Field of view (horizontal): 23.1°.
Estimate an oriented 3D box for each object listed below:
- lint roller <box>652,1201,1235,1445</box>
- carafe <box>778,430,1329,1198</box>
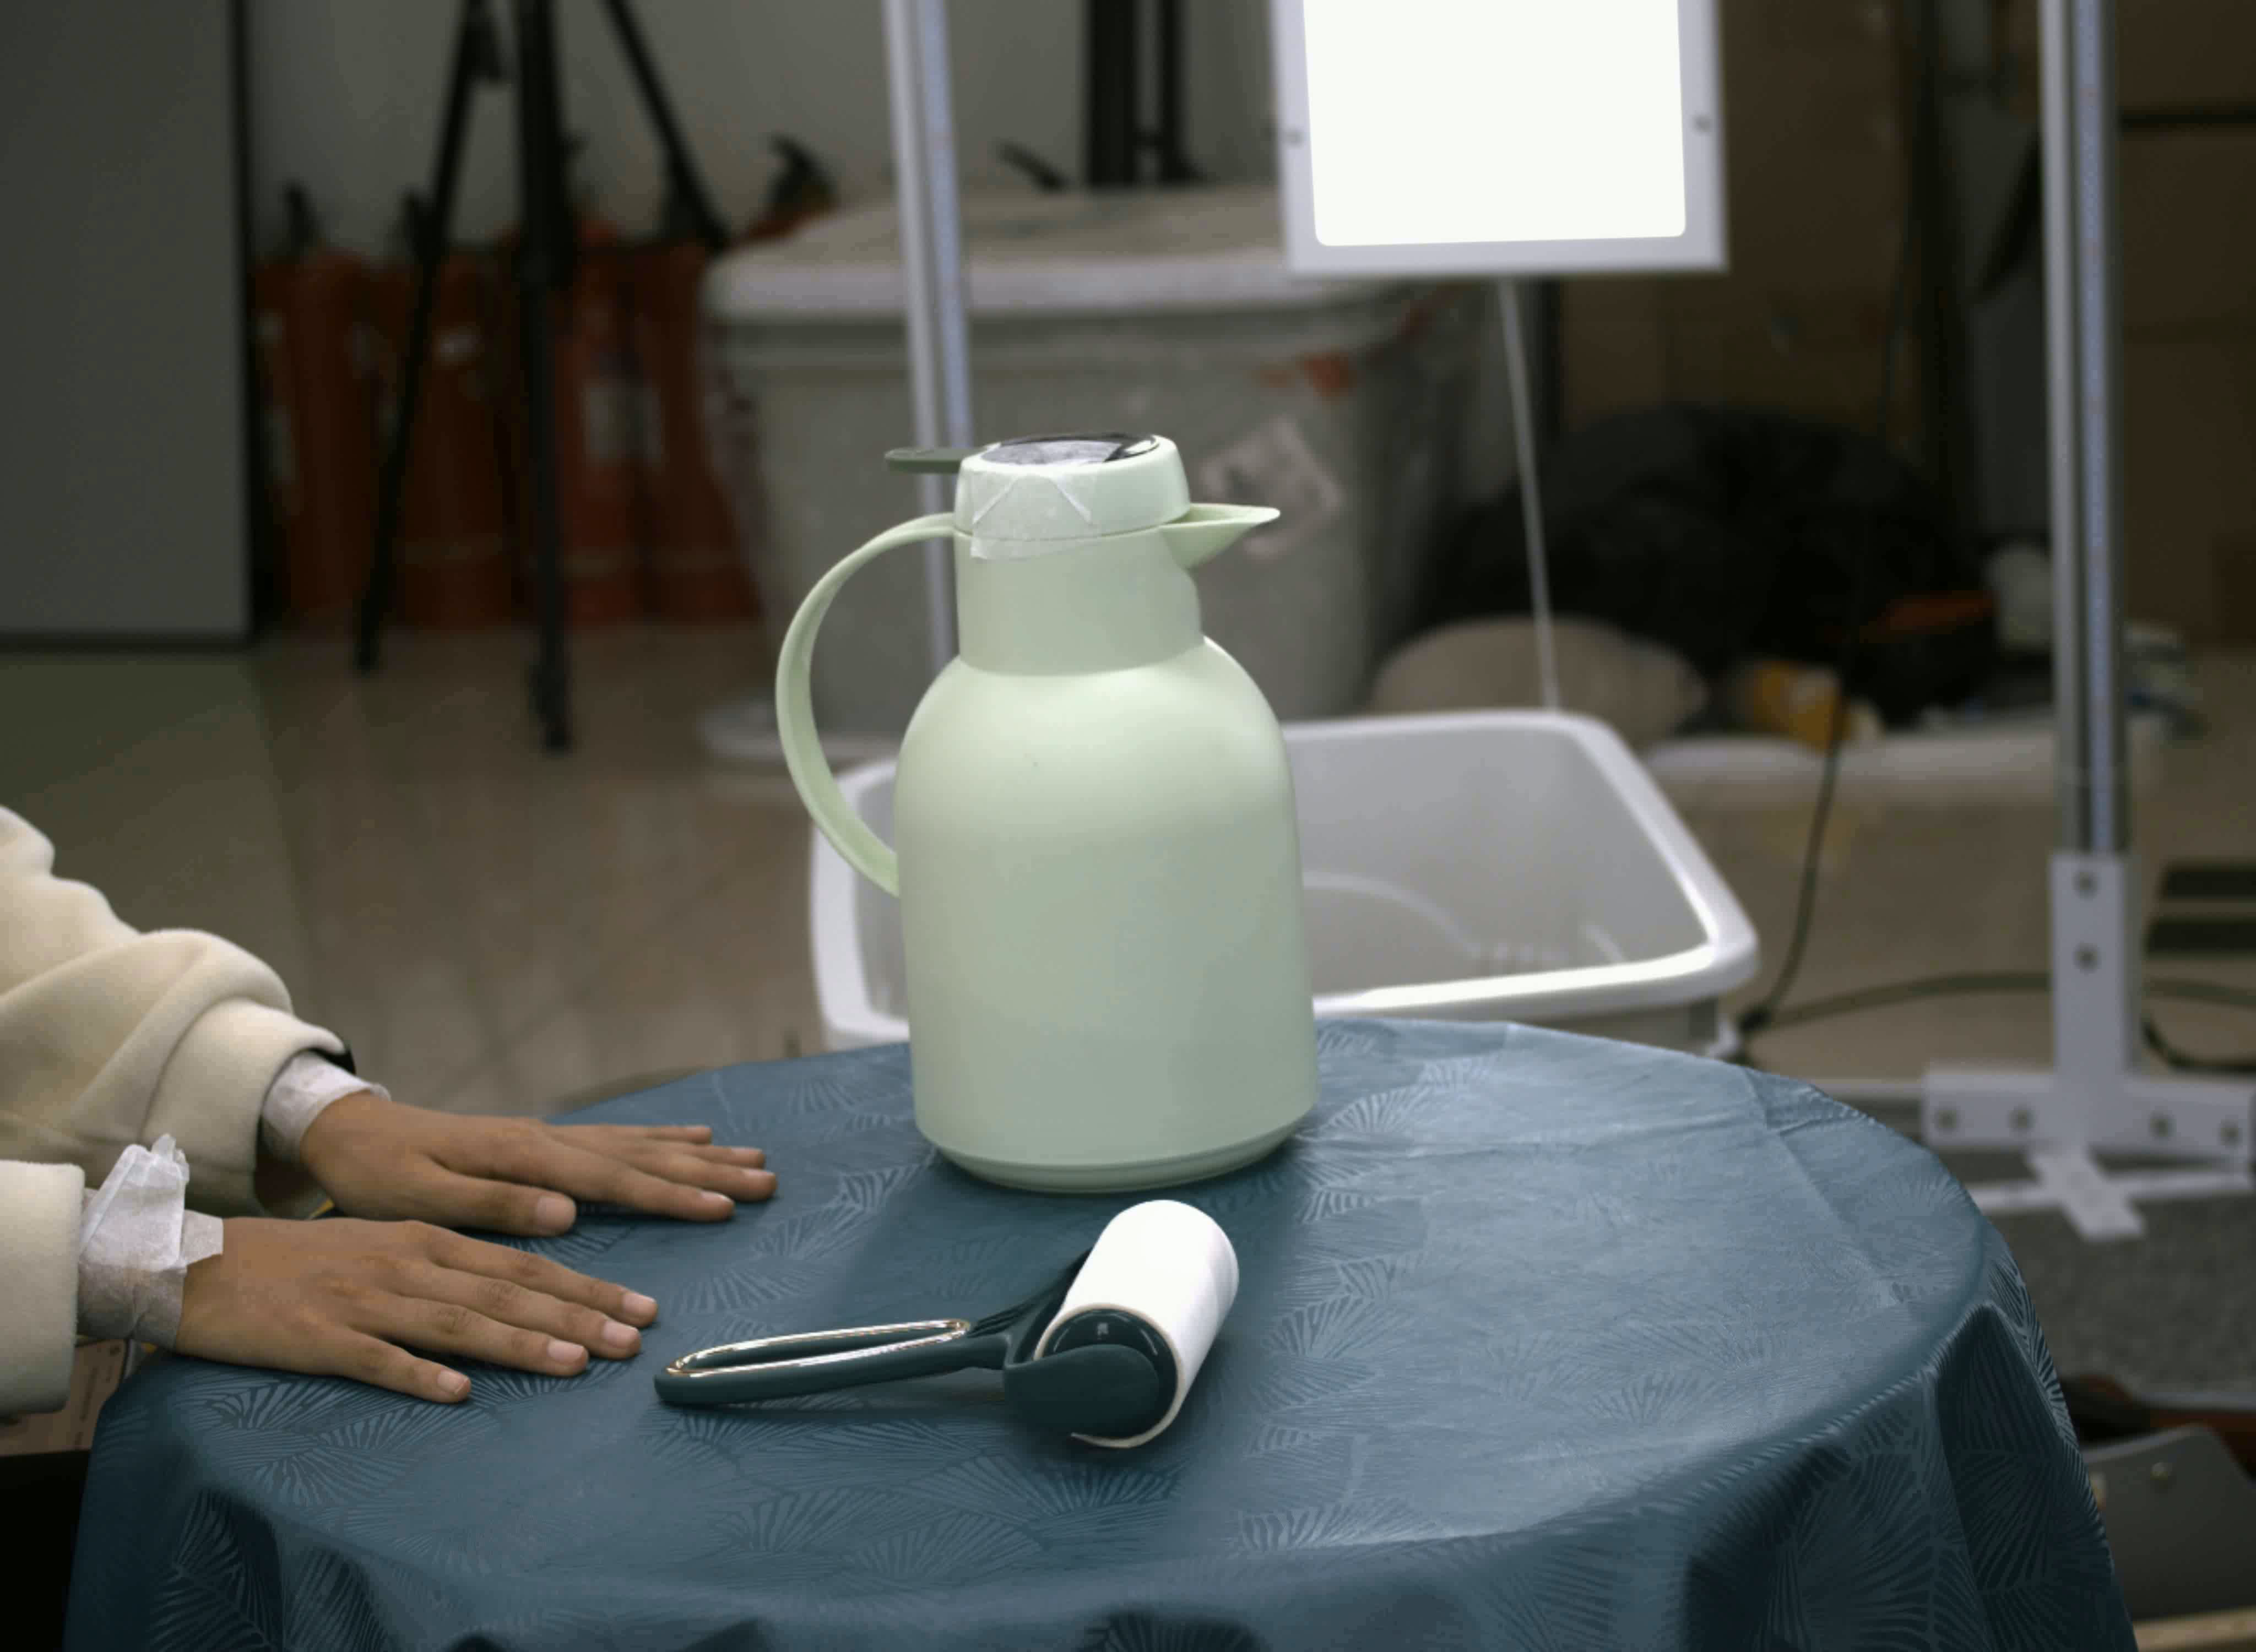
[{"bbox_3d":[-0.062,0.154,1.709,0.181,0.048,0.132,-2,13,14],"label":"lint roller"},{"bbox_3d":[-0.025,-0.008,1.932,0.189,0.257,0.142,-4,15,19],"label":"carafe"}]
